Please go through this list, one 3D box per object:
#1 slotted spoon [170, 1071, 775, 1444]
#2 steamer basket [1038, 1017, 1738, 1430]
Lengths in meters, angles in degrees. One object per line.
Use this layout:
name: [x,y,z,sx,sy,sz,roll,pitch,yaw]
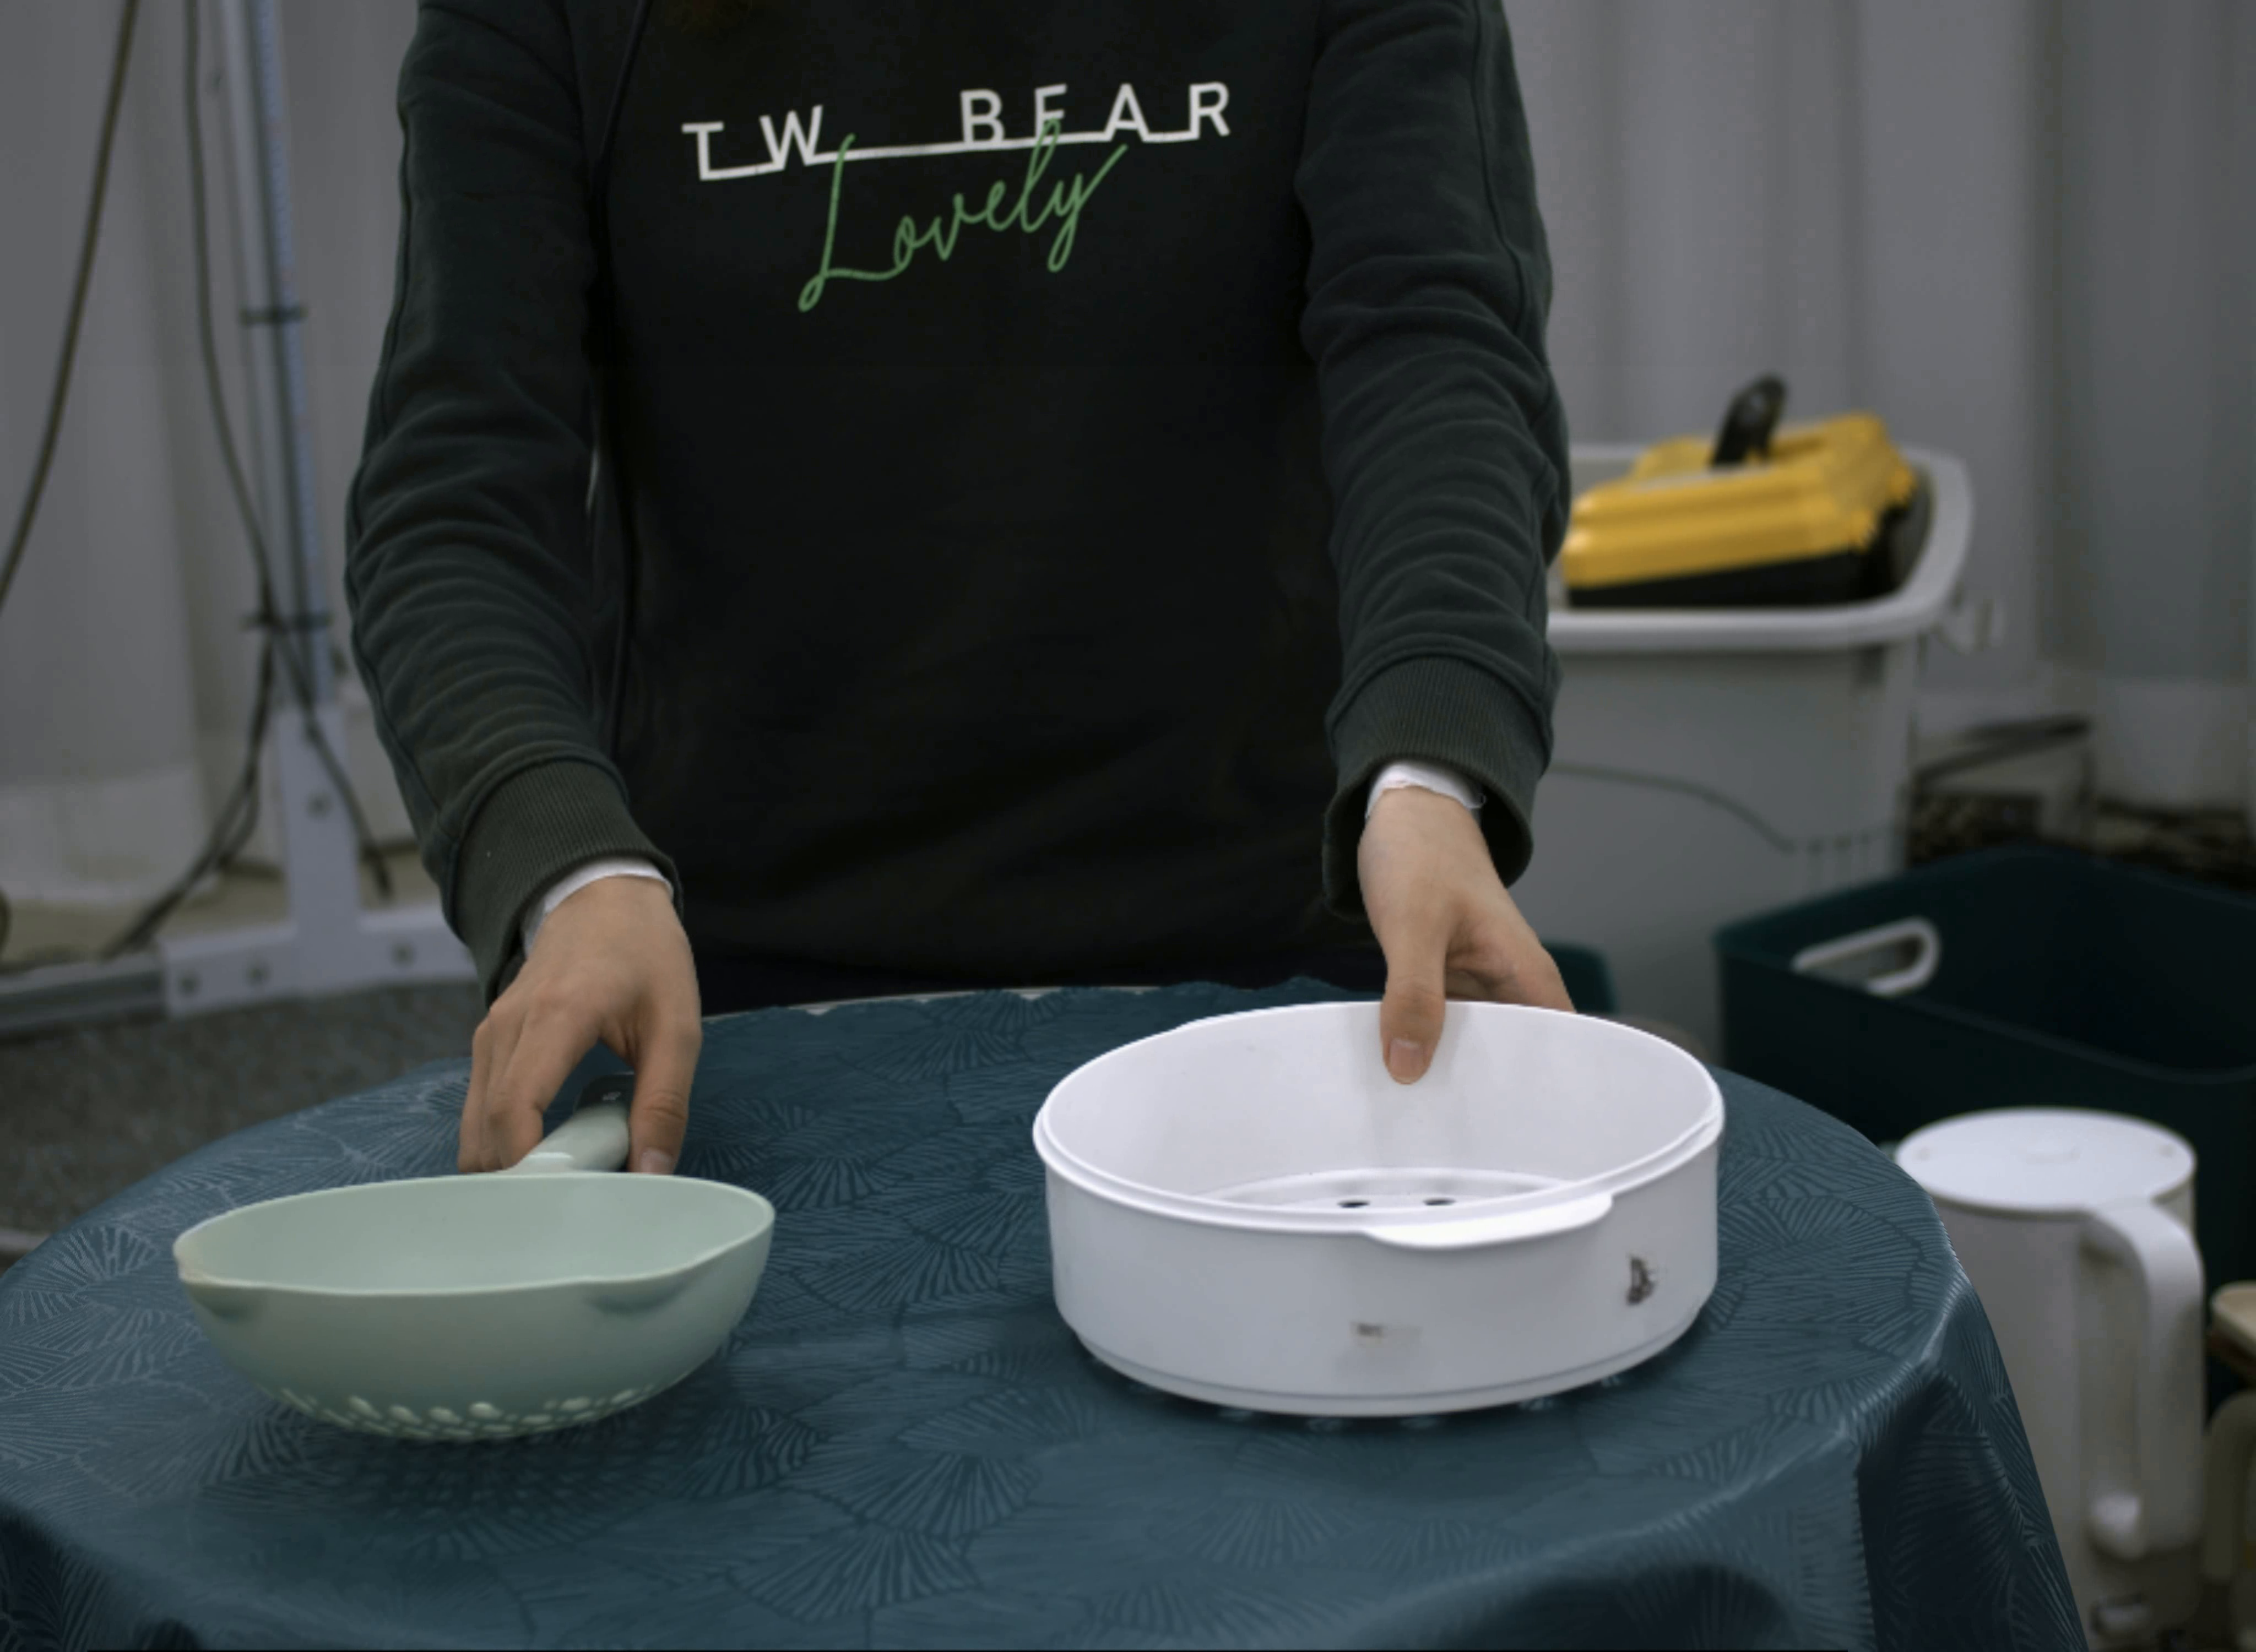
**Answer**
slotted spoon: [-0.174,0.112,1.630,0.169,0.075,0.361,-1,15,6]
steamer basket: [0.075,0.114,1.580,0.201,0.069,0.232,-6,15,-16]
